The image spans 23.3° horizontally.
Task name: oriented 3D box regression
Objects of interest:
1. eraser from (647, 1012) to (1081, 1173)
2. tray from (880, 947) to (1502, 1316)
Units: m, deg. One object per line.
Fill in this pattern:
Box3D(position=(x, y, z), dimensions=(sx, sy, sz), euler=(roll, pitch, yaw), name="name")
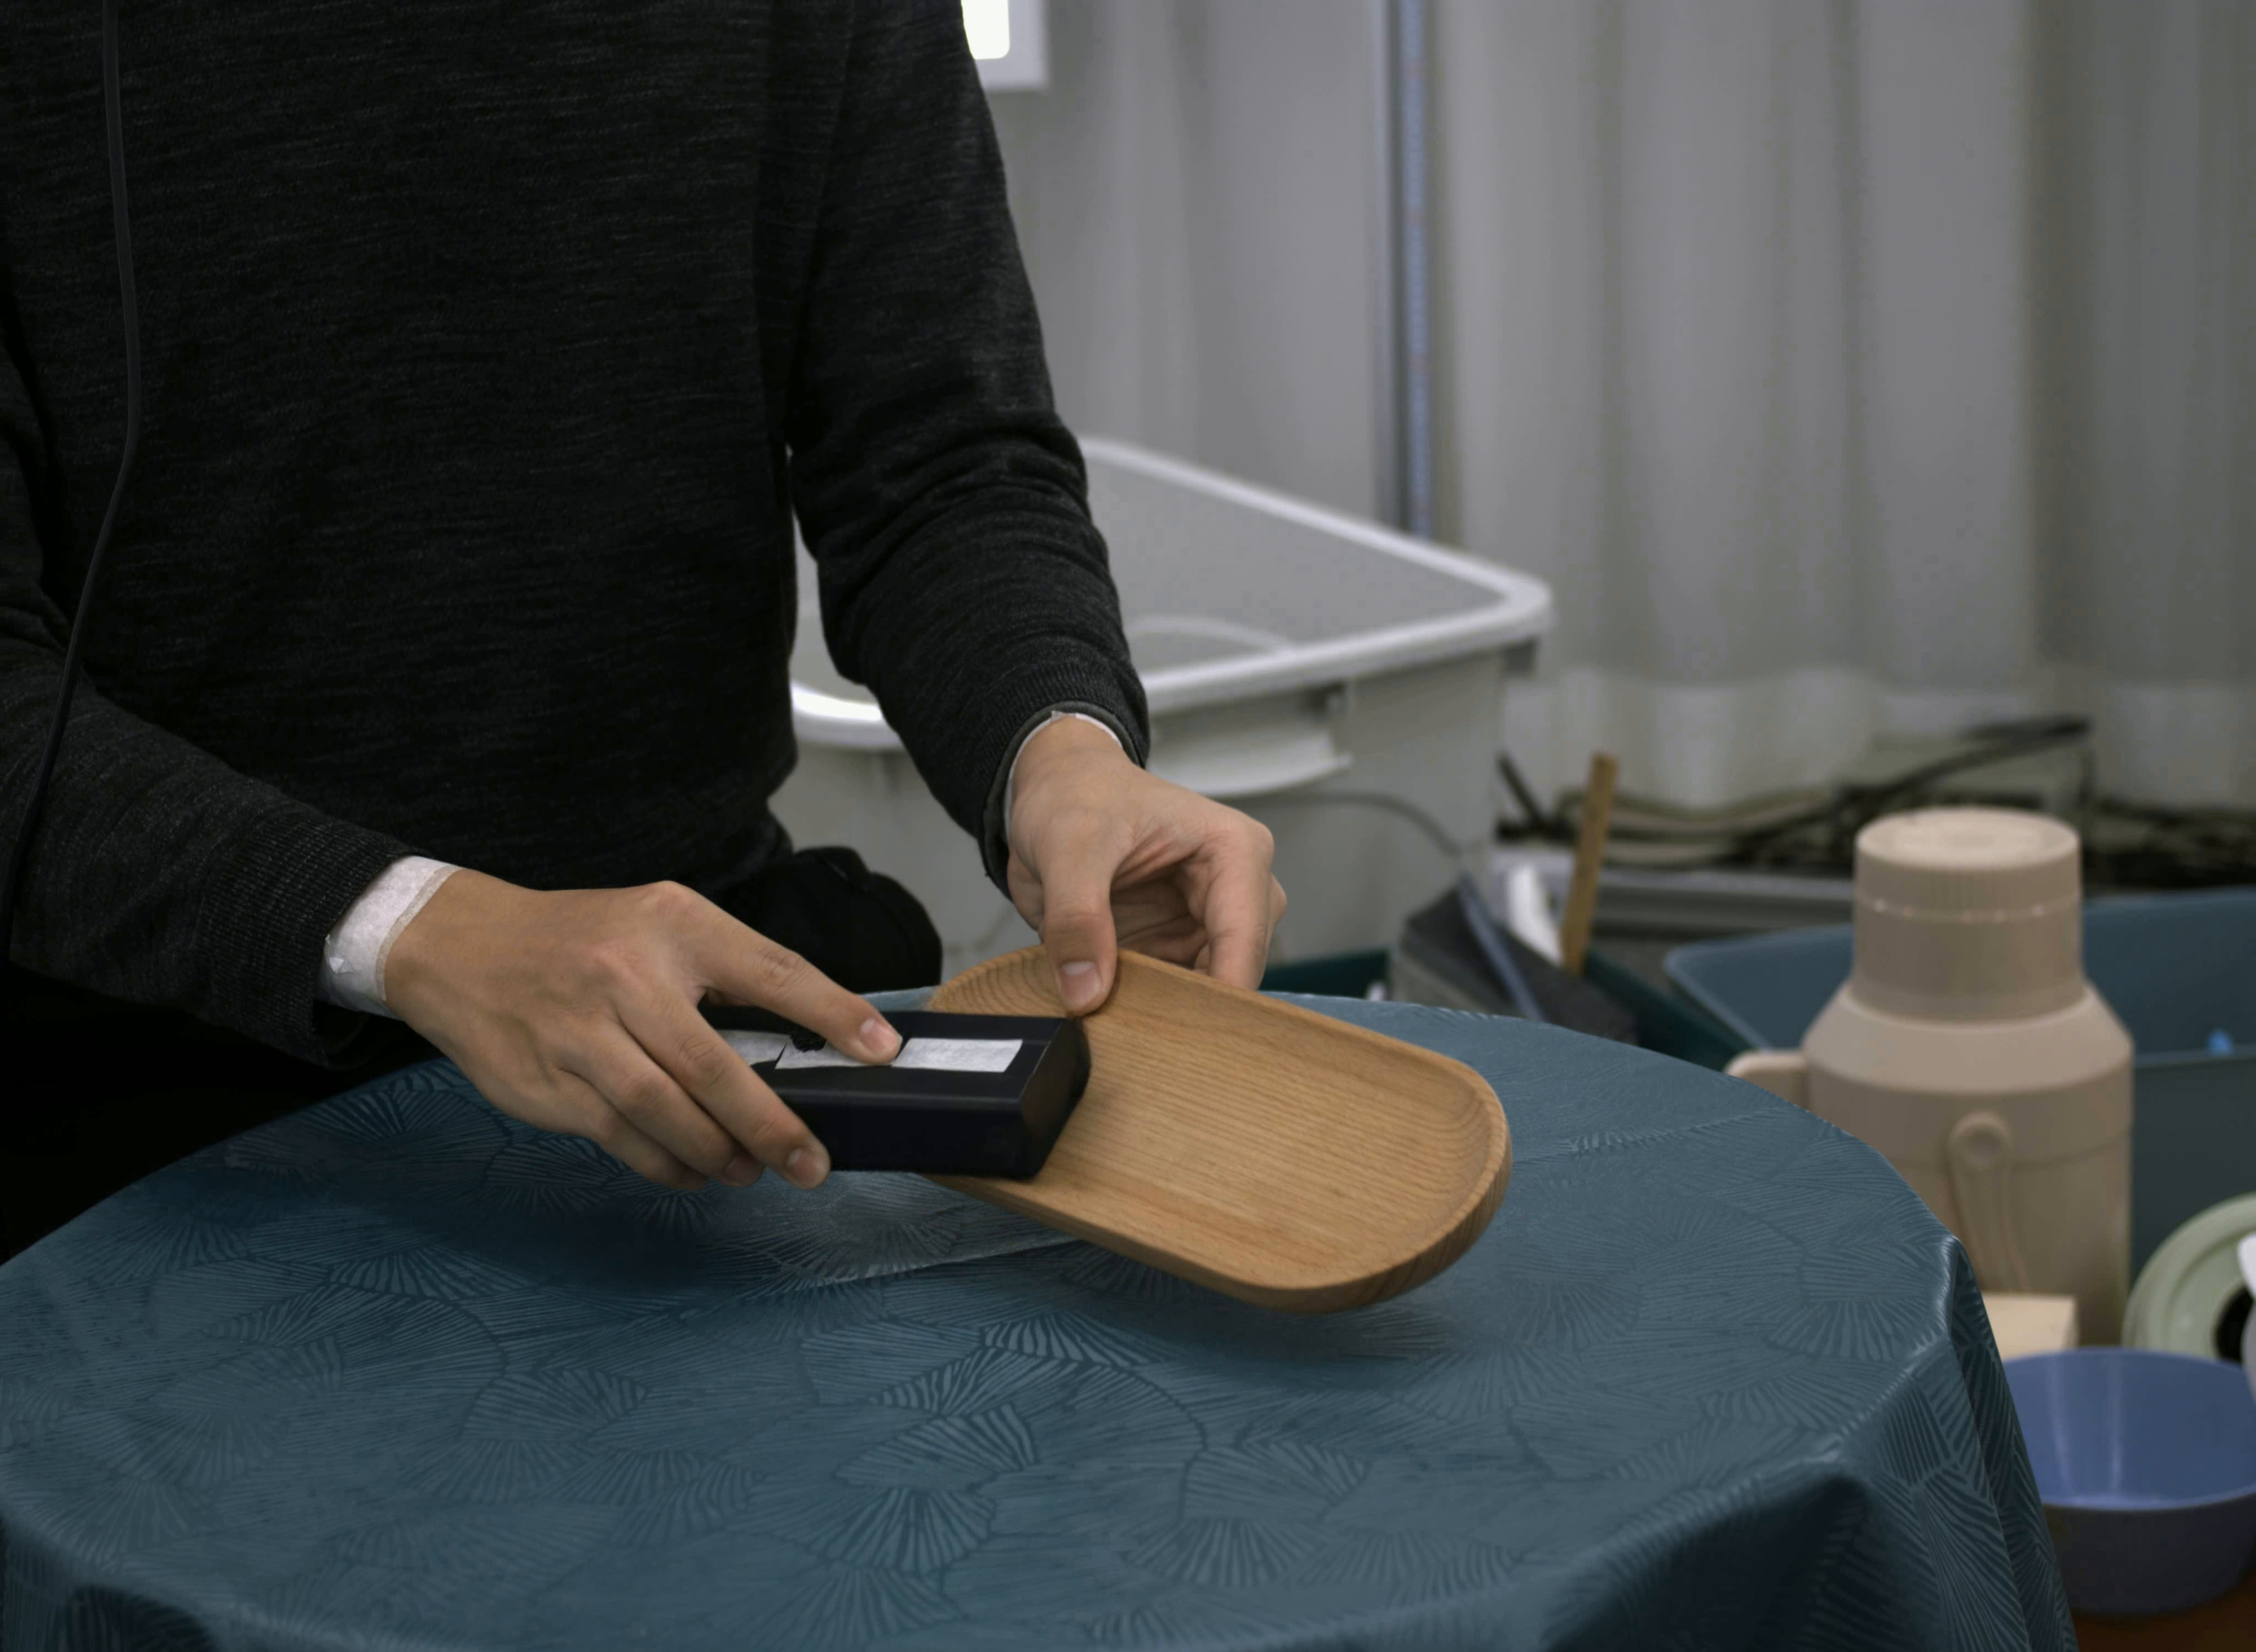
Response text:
Box3D(position=(-0.078, 0.080, 1.653), dimensions=(0.125, 0.030, 0.054), euler=(0, 30, 17), name="eraser")
Box3D(position=(0.013, 0.090, 1.631), dimensions=(0.232, 0.020, 0.102), euler=(15, 48, 42), name="tray")
